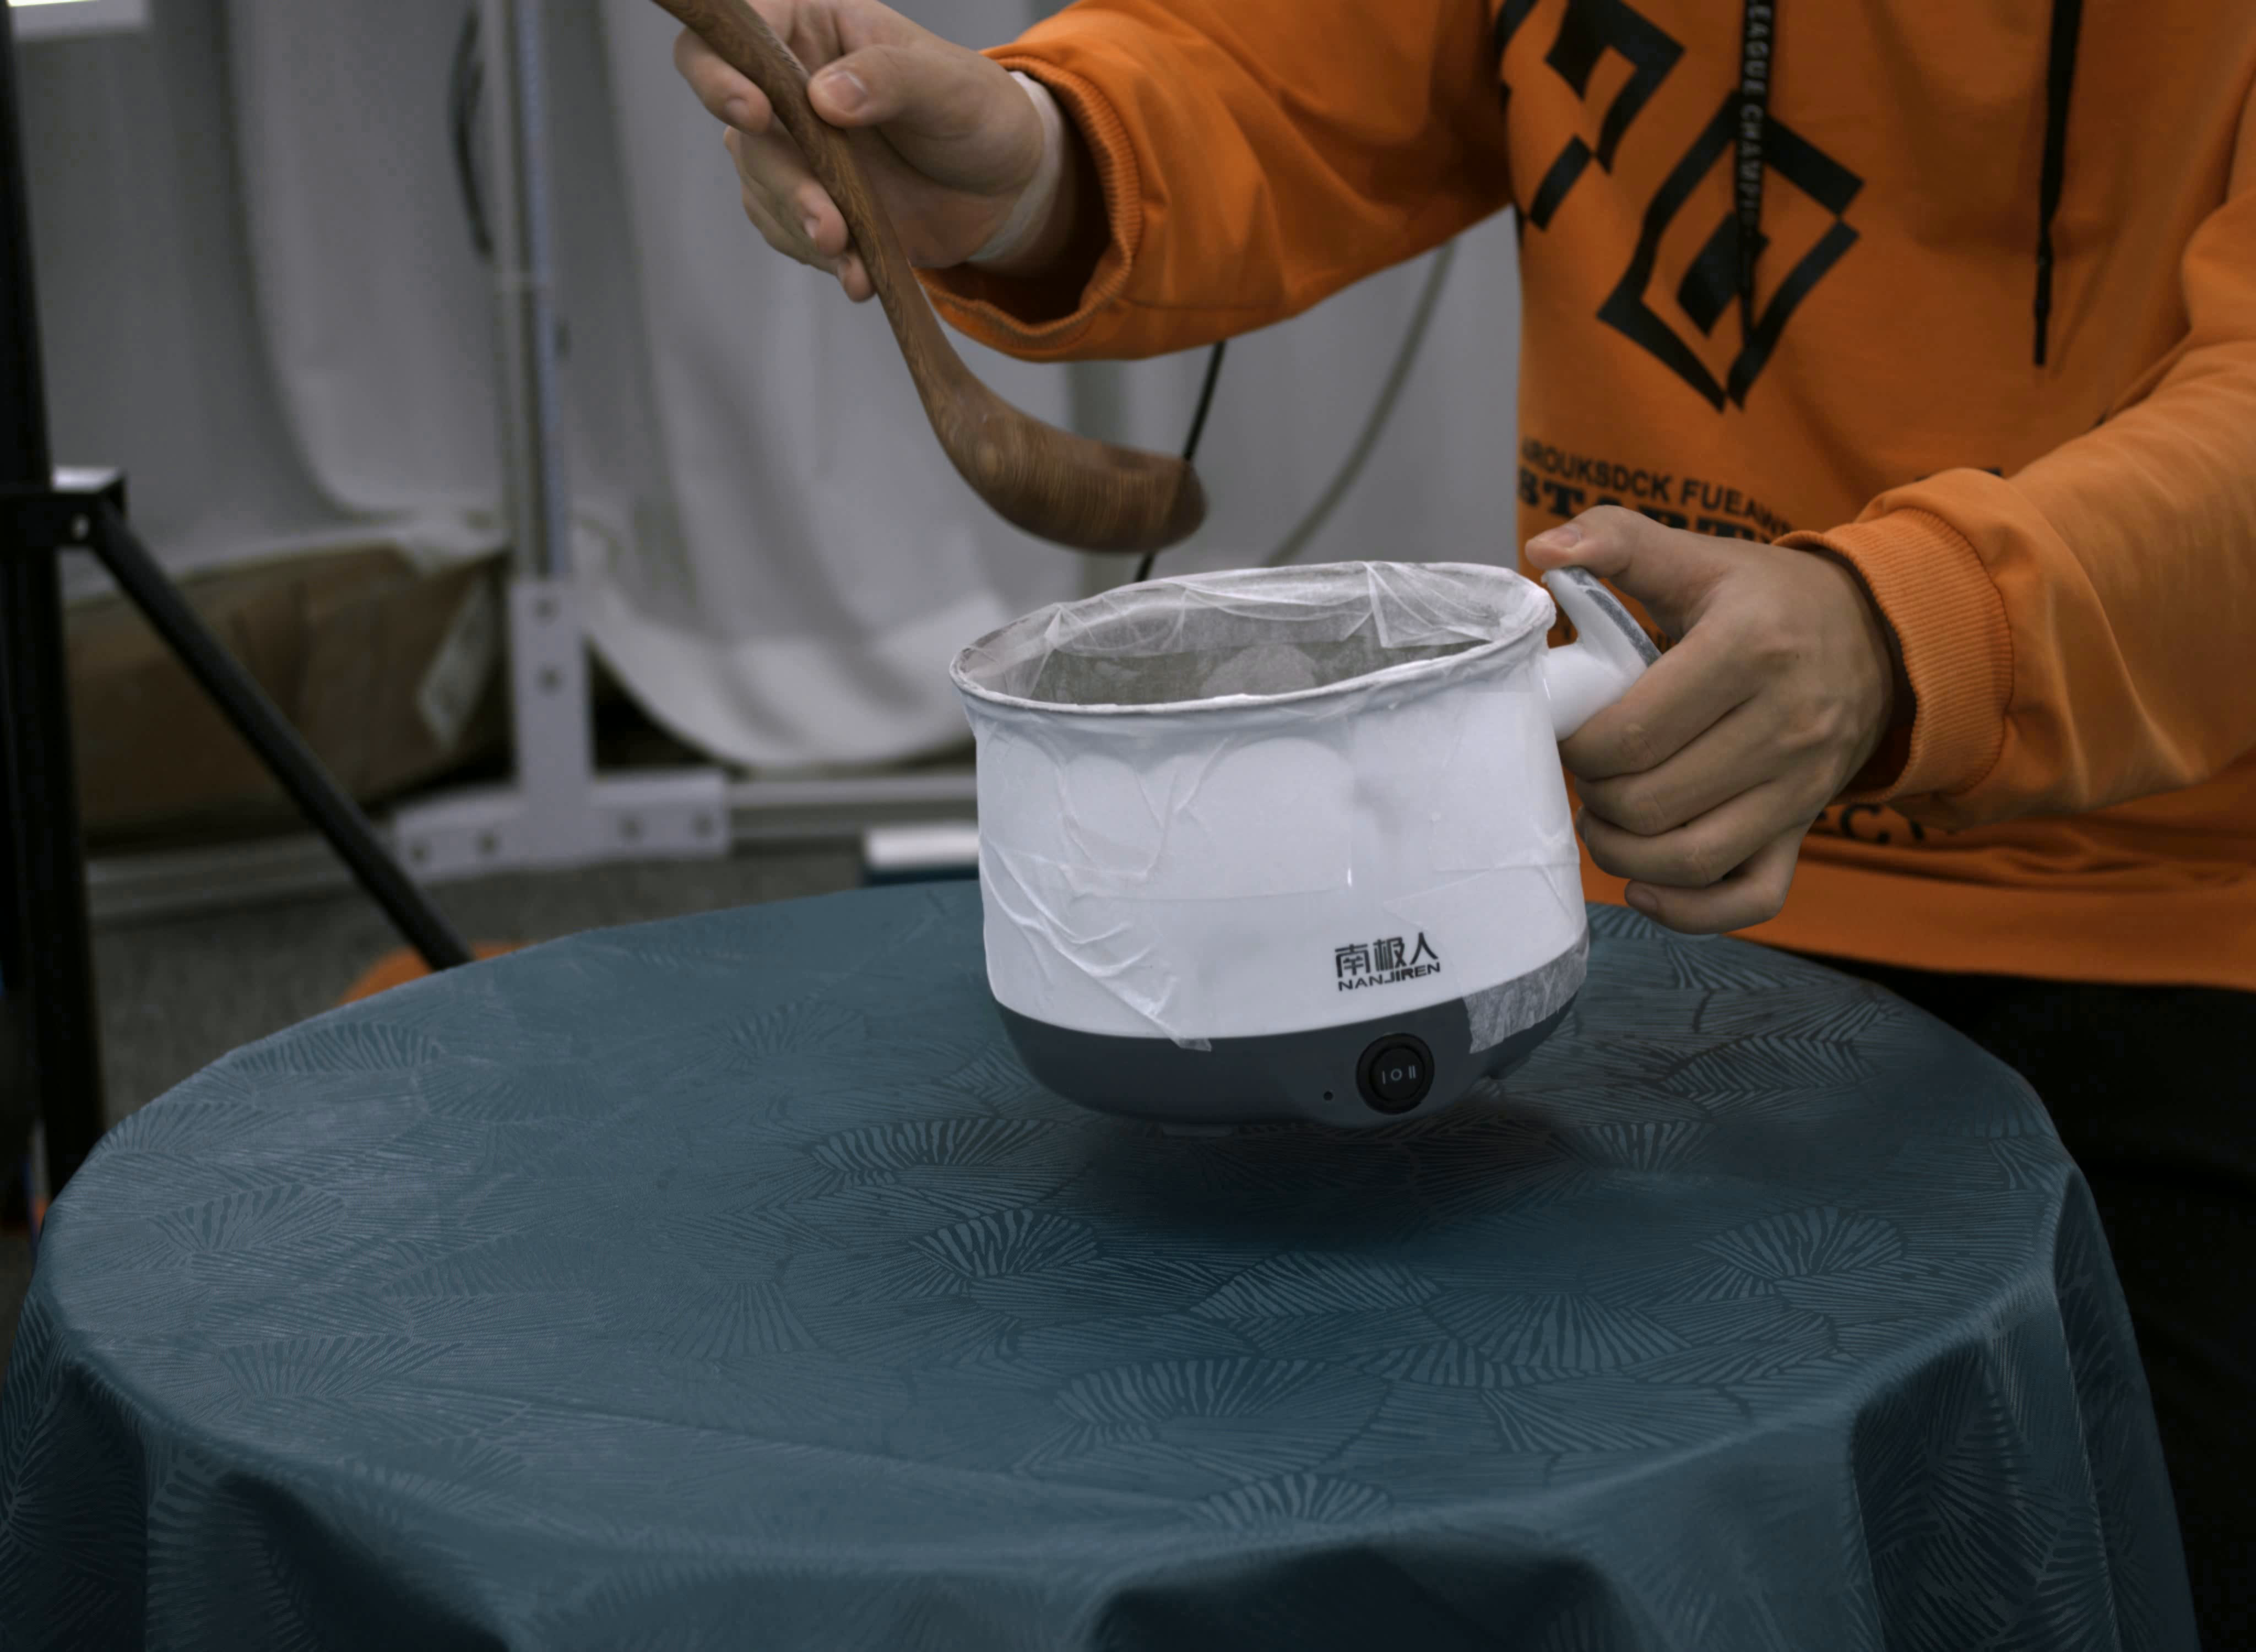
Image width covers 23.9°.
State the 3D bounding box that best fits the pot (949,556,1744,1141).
[{"bbox_3d":[0.068,0.000,1.563,0.230,0.136,0.181,-11,15,-16],"label":"pot"}]

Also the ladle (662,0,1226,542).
[{"bbox_3d":[-0.065,-0.183,1.576,0.065,0.263,0.075,-41,-17,21],"label":"ladle"}]
